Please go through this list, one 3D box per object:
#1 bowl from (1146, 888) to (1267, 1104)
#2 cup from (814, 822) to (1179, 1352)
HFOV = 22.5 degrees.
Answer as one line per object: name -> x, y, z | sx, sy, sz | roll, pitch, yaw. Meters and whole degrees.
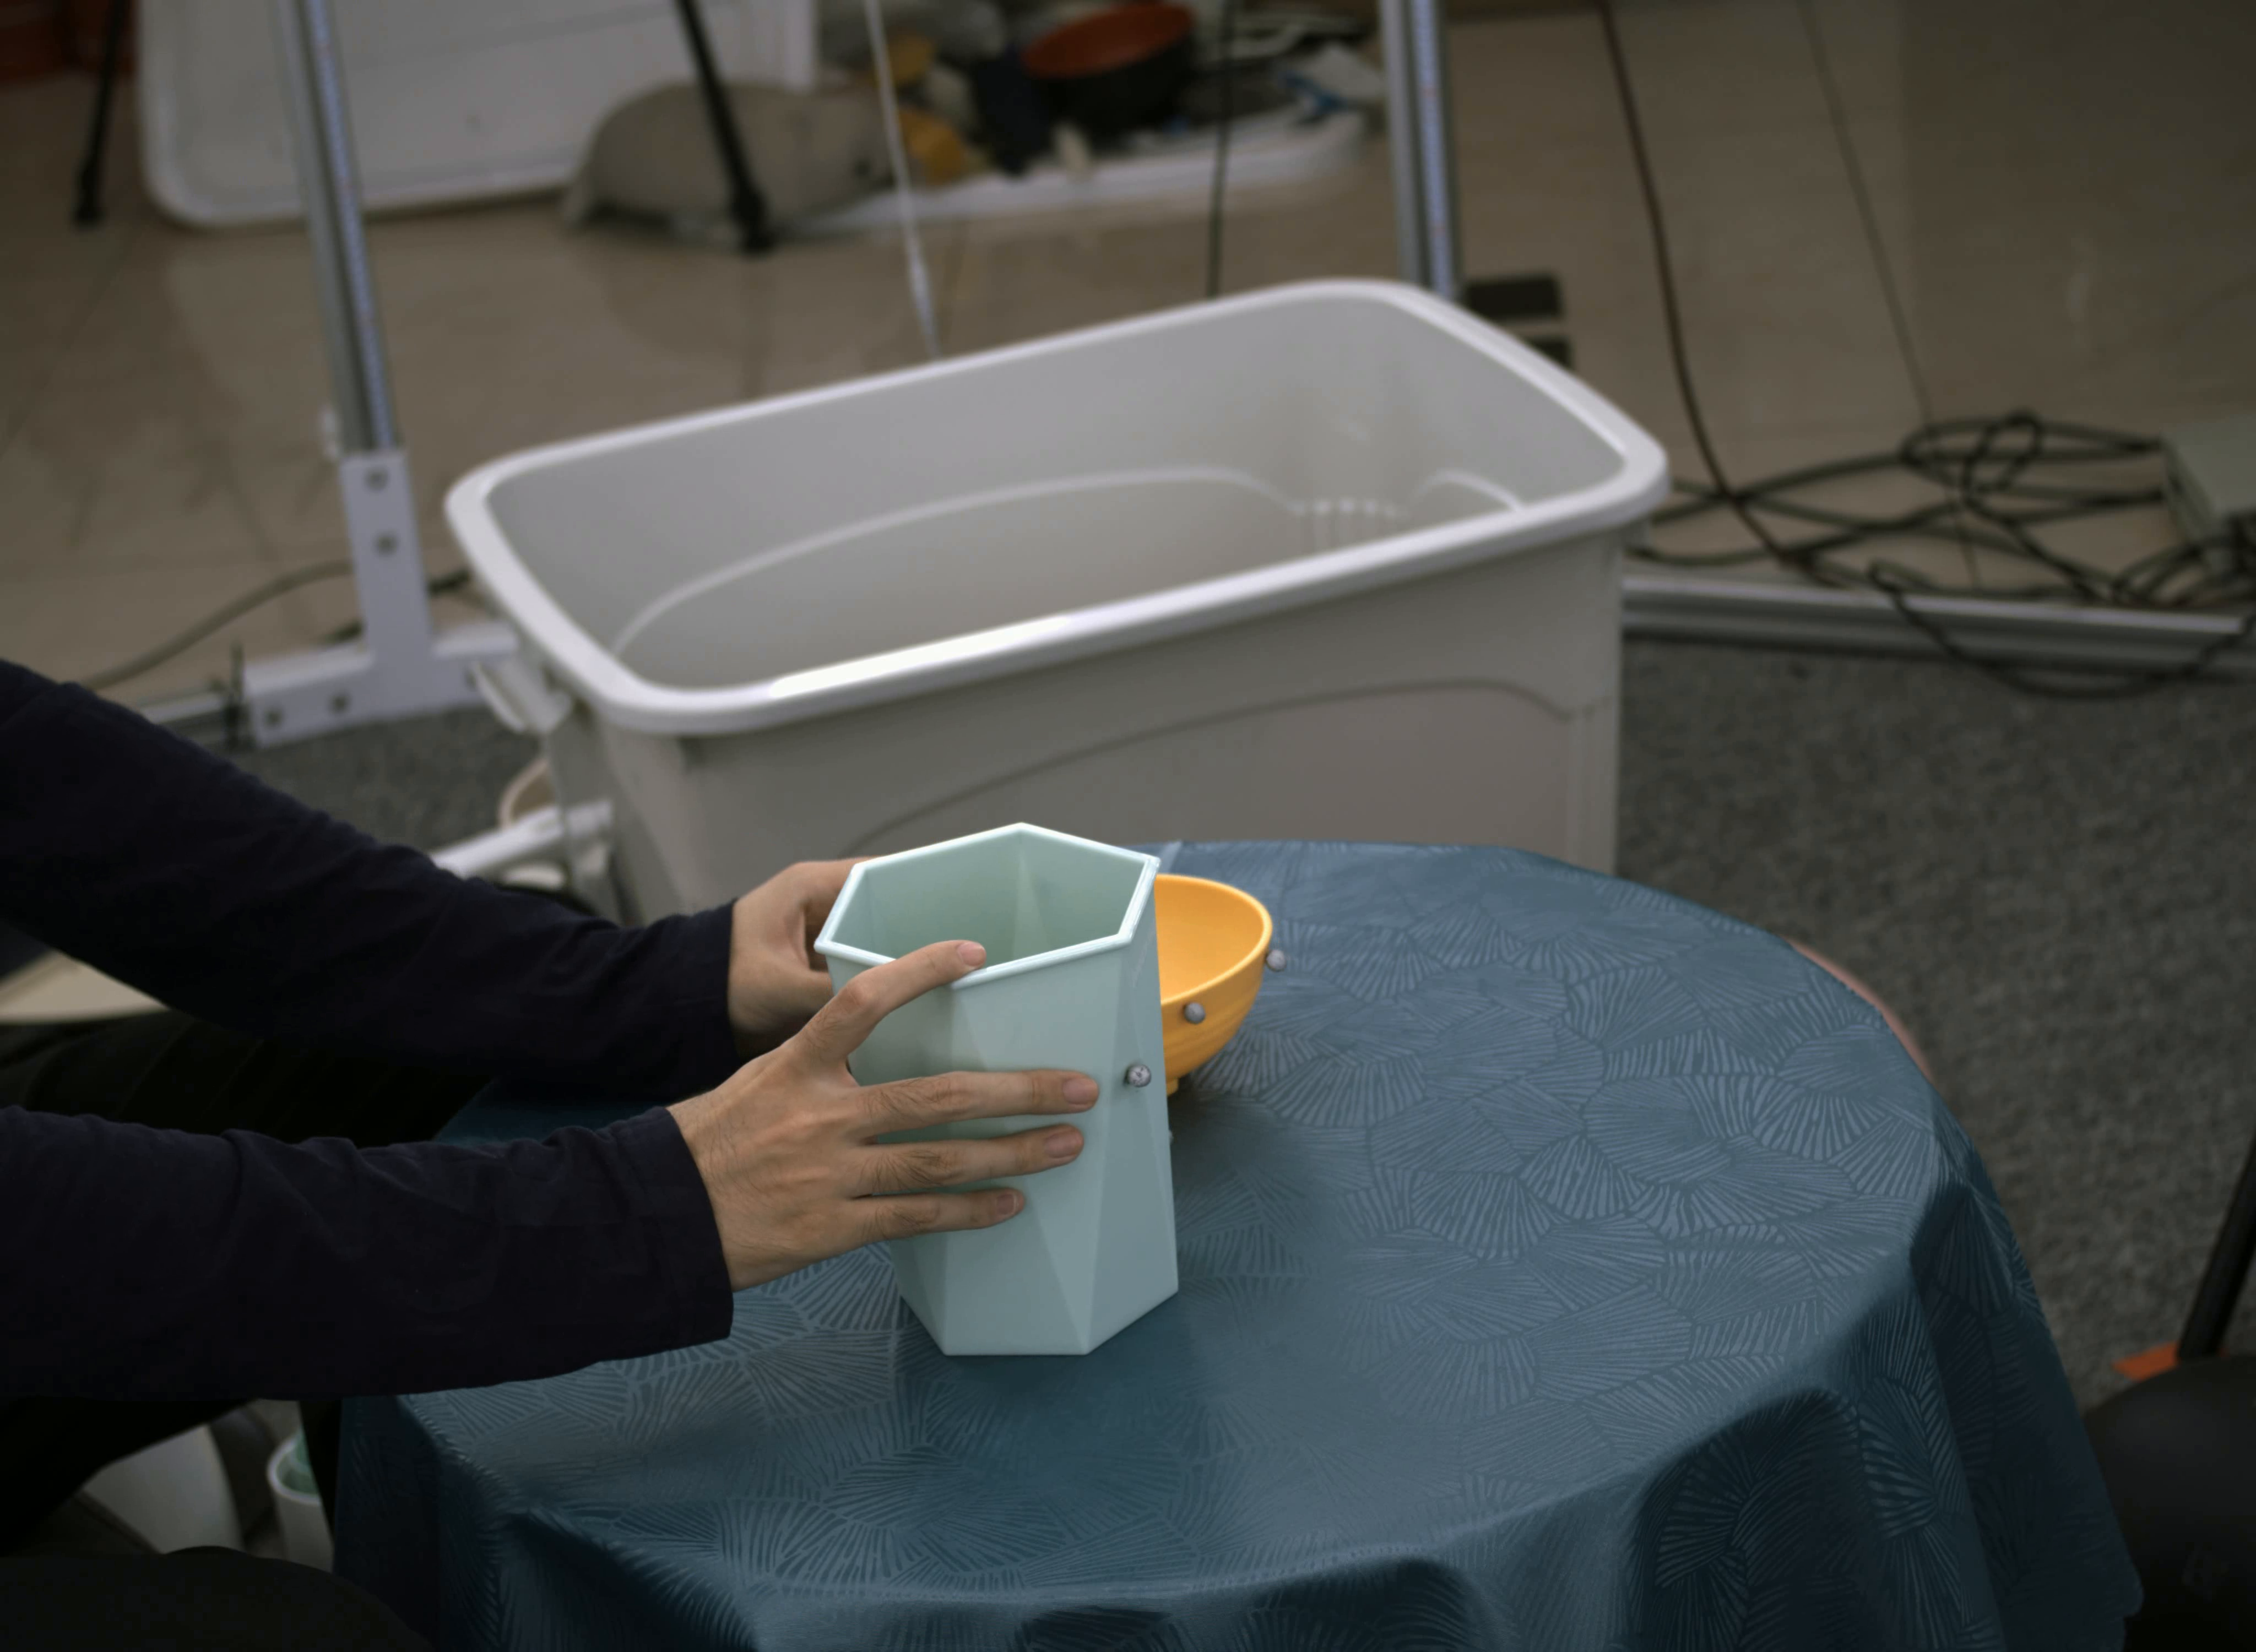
bowl -> -0.013, 0.076, 2.218 | 0.145, 0.061, 0.143 | -8, 20, 3
cup -> -0.041, 0.097, 2.050 | 0.115, 0.165, 0.129 | -3, 25, 10
